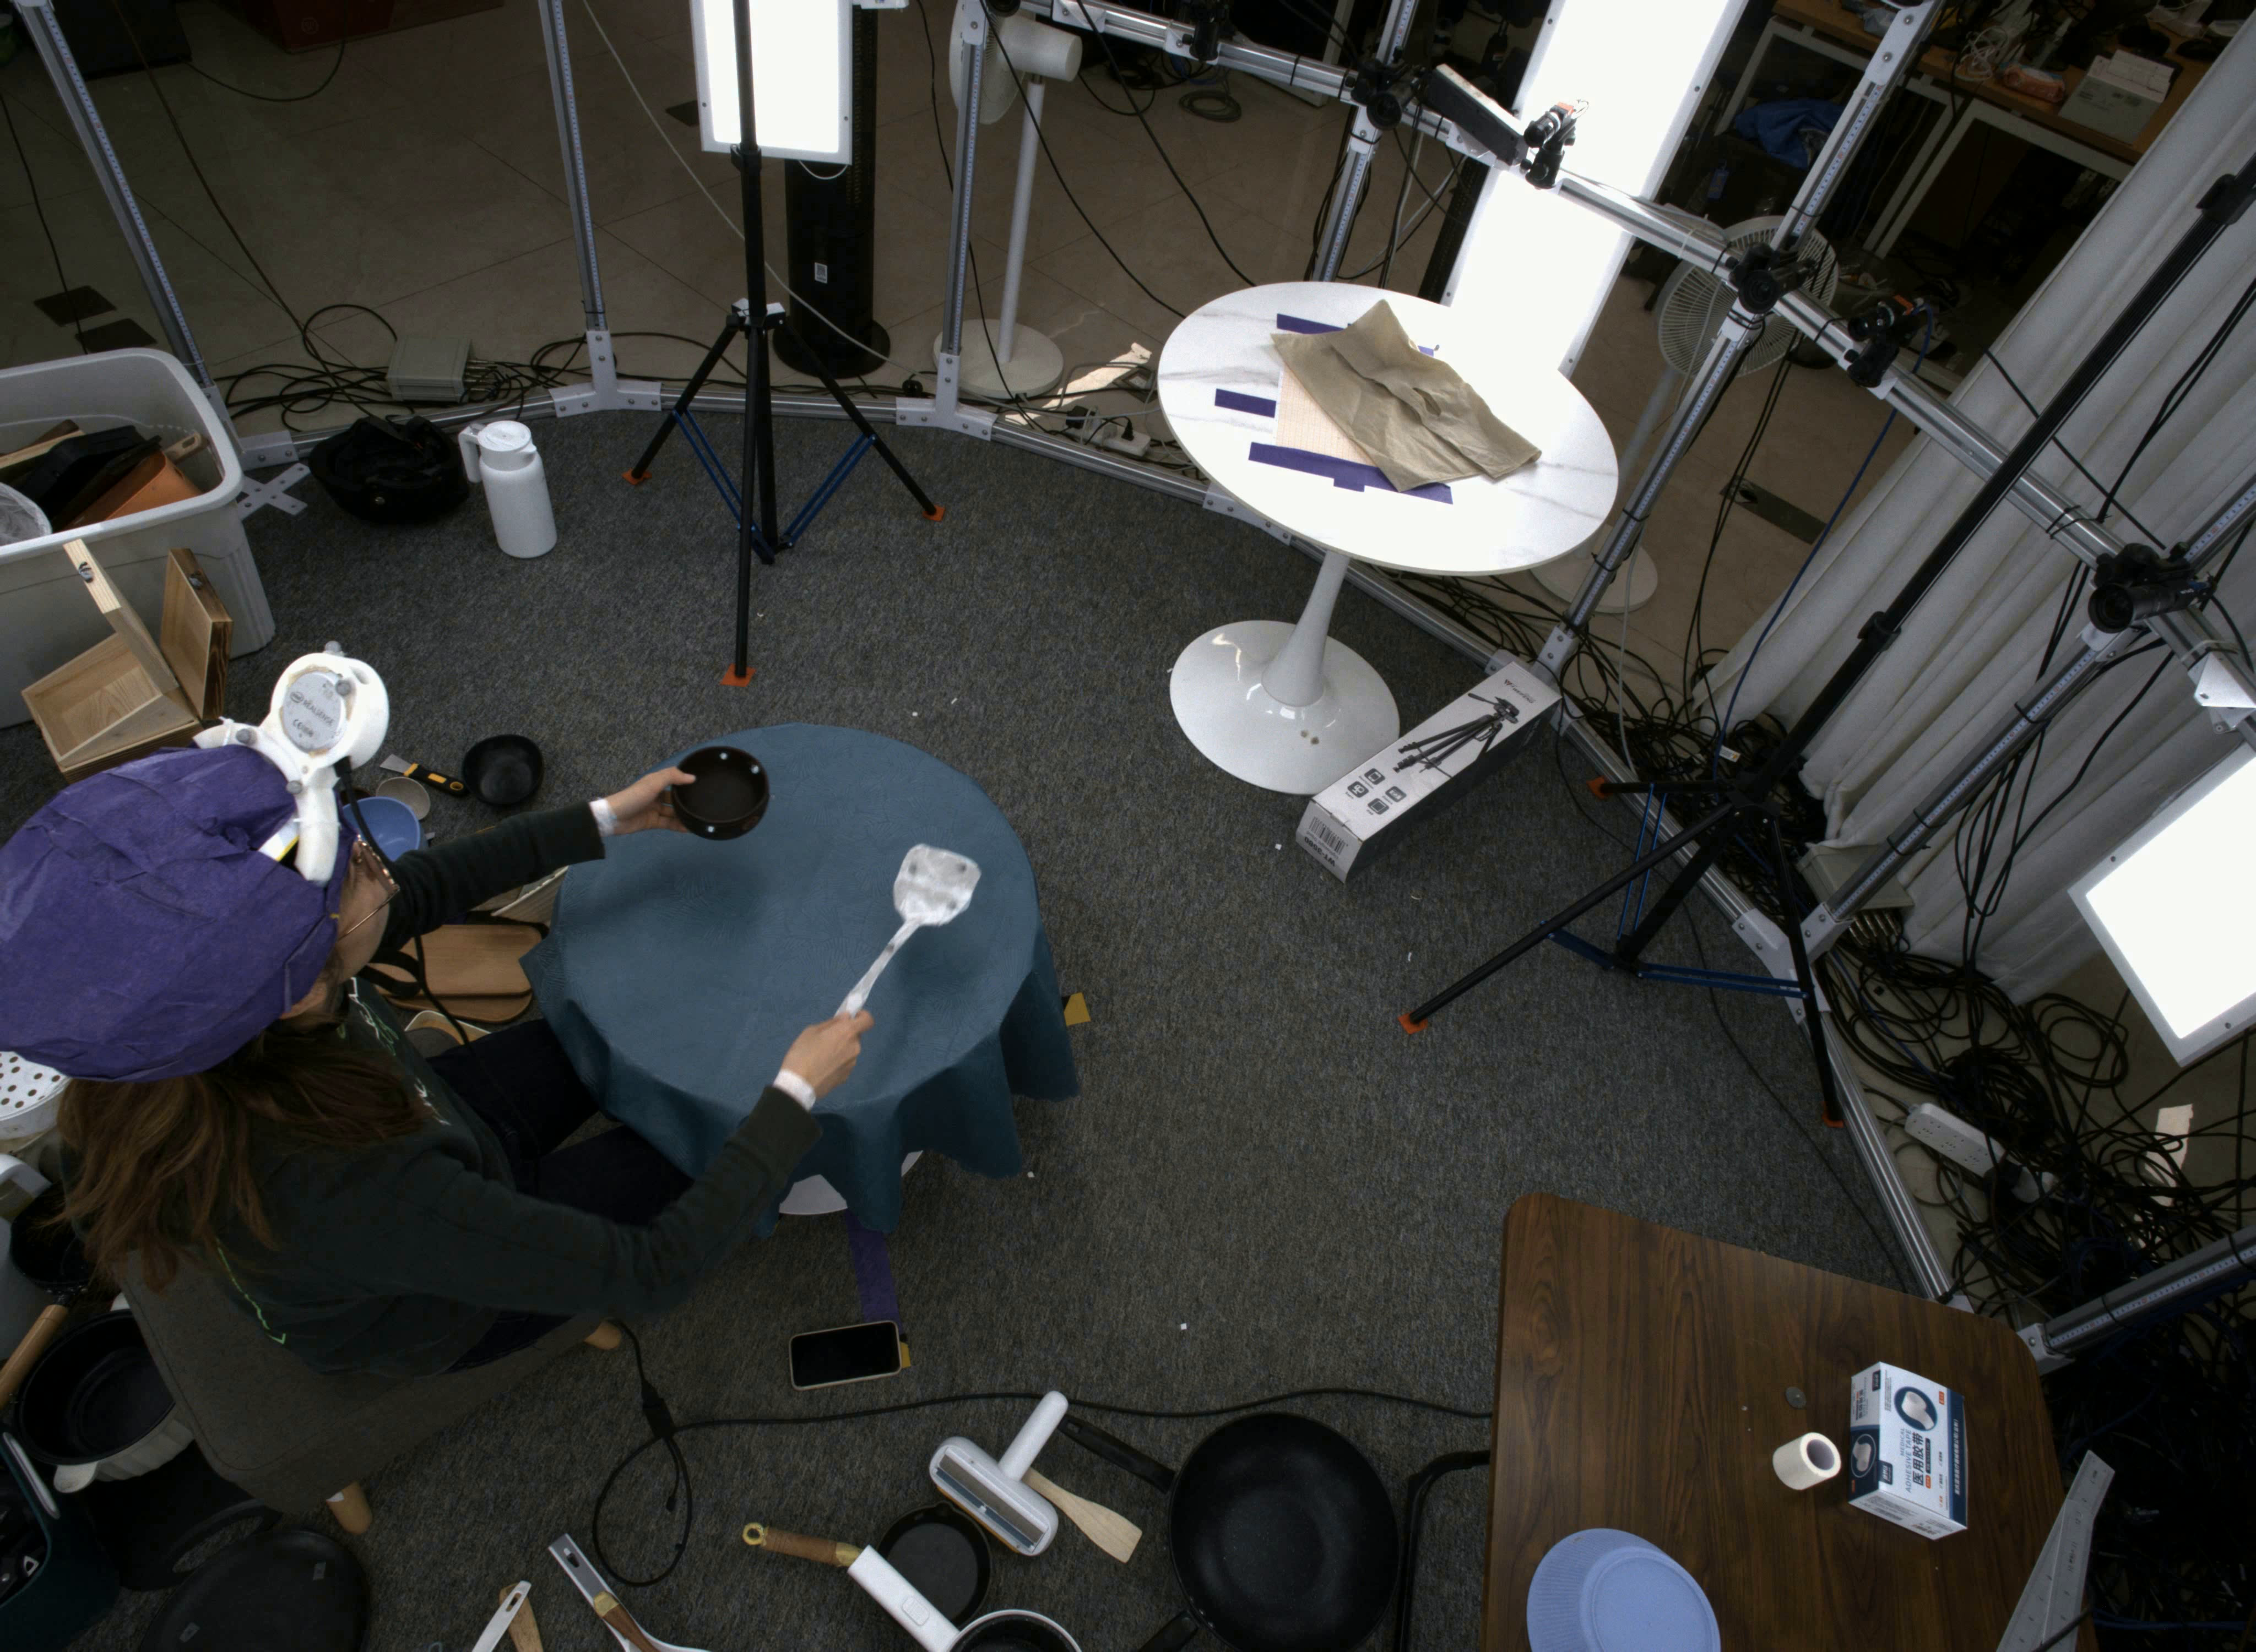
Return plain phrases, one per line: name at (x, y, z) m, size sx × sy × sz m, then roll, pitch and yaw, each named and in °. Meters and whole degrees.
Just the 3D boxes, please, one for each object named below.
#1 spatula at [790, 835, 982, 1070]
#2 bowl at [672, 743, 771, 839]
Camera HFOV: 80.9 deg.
spatula at (-0.284, 0.141, 1.502) m, size 0.097 × 0.046 × 0.362 m, roll 23°, pitch 42°, yaw 7°
bowl at (-0.496, -0.036, 1.579) m, size 0.118 × 0.071 × 0.116 m, roll 9°, pitch 54°, yaw -11°
